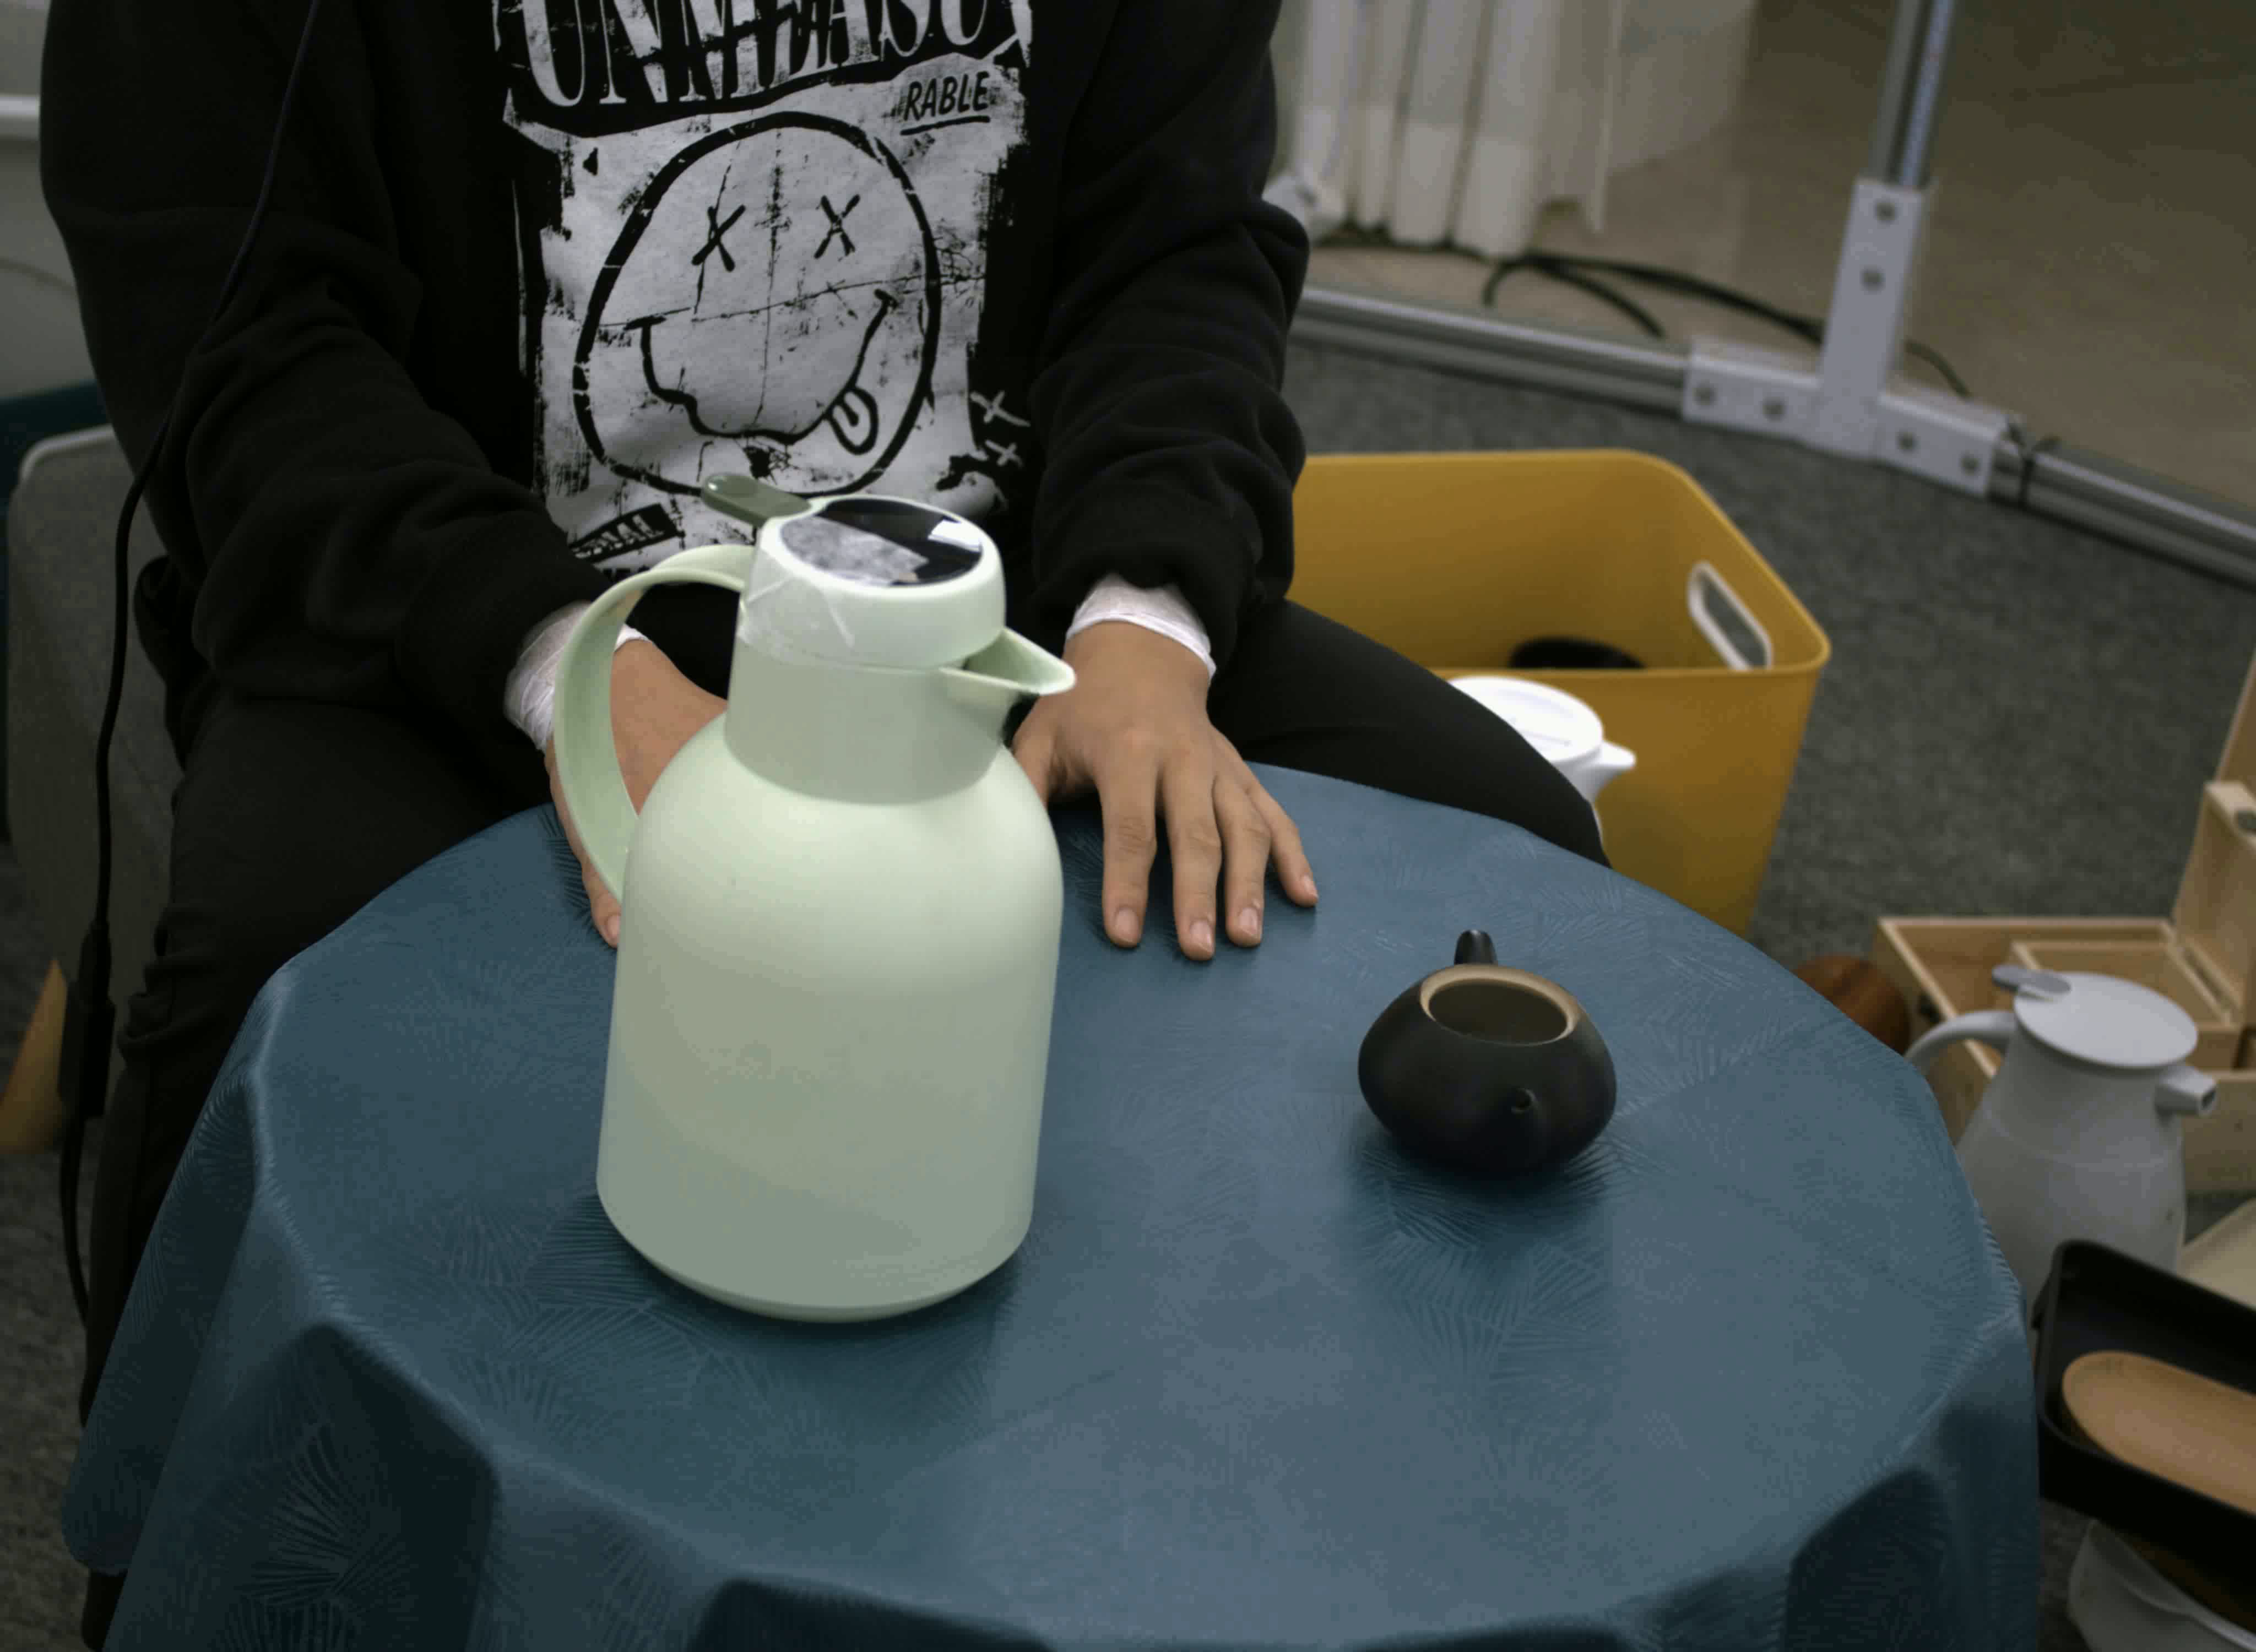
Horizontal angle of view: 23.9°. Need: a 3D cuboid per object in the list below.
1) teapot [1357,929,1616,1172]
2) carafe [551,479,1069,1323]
[{"bbox_3d":[0.125,0.084,1.852,0.090,0.053,0.134,5,27,-7],"label":"teapot"},{"bbox_3d":[-0.104,0.018,1.716,0.187,0.256,0.144,17,29,27],"label":"carafe"}]
